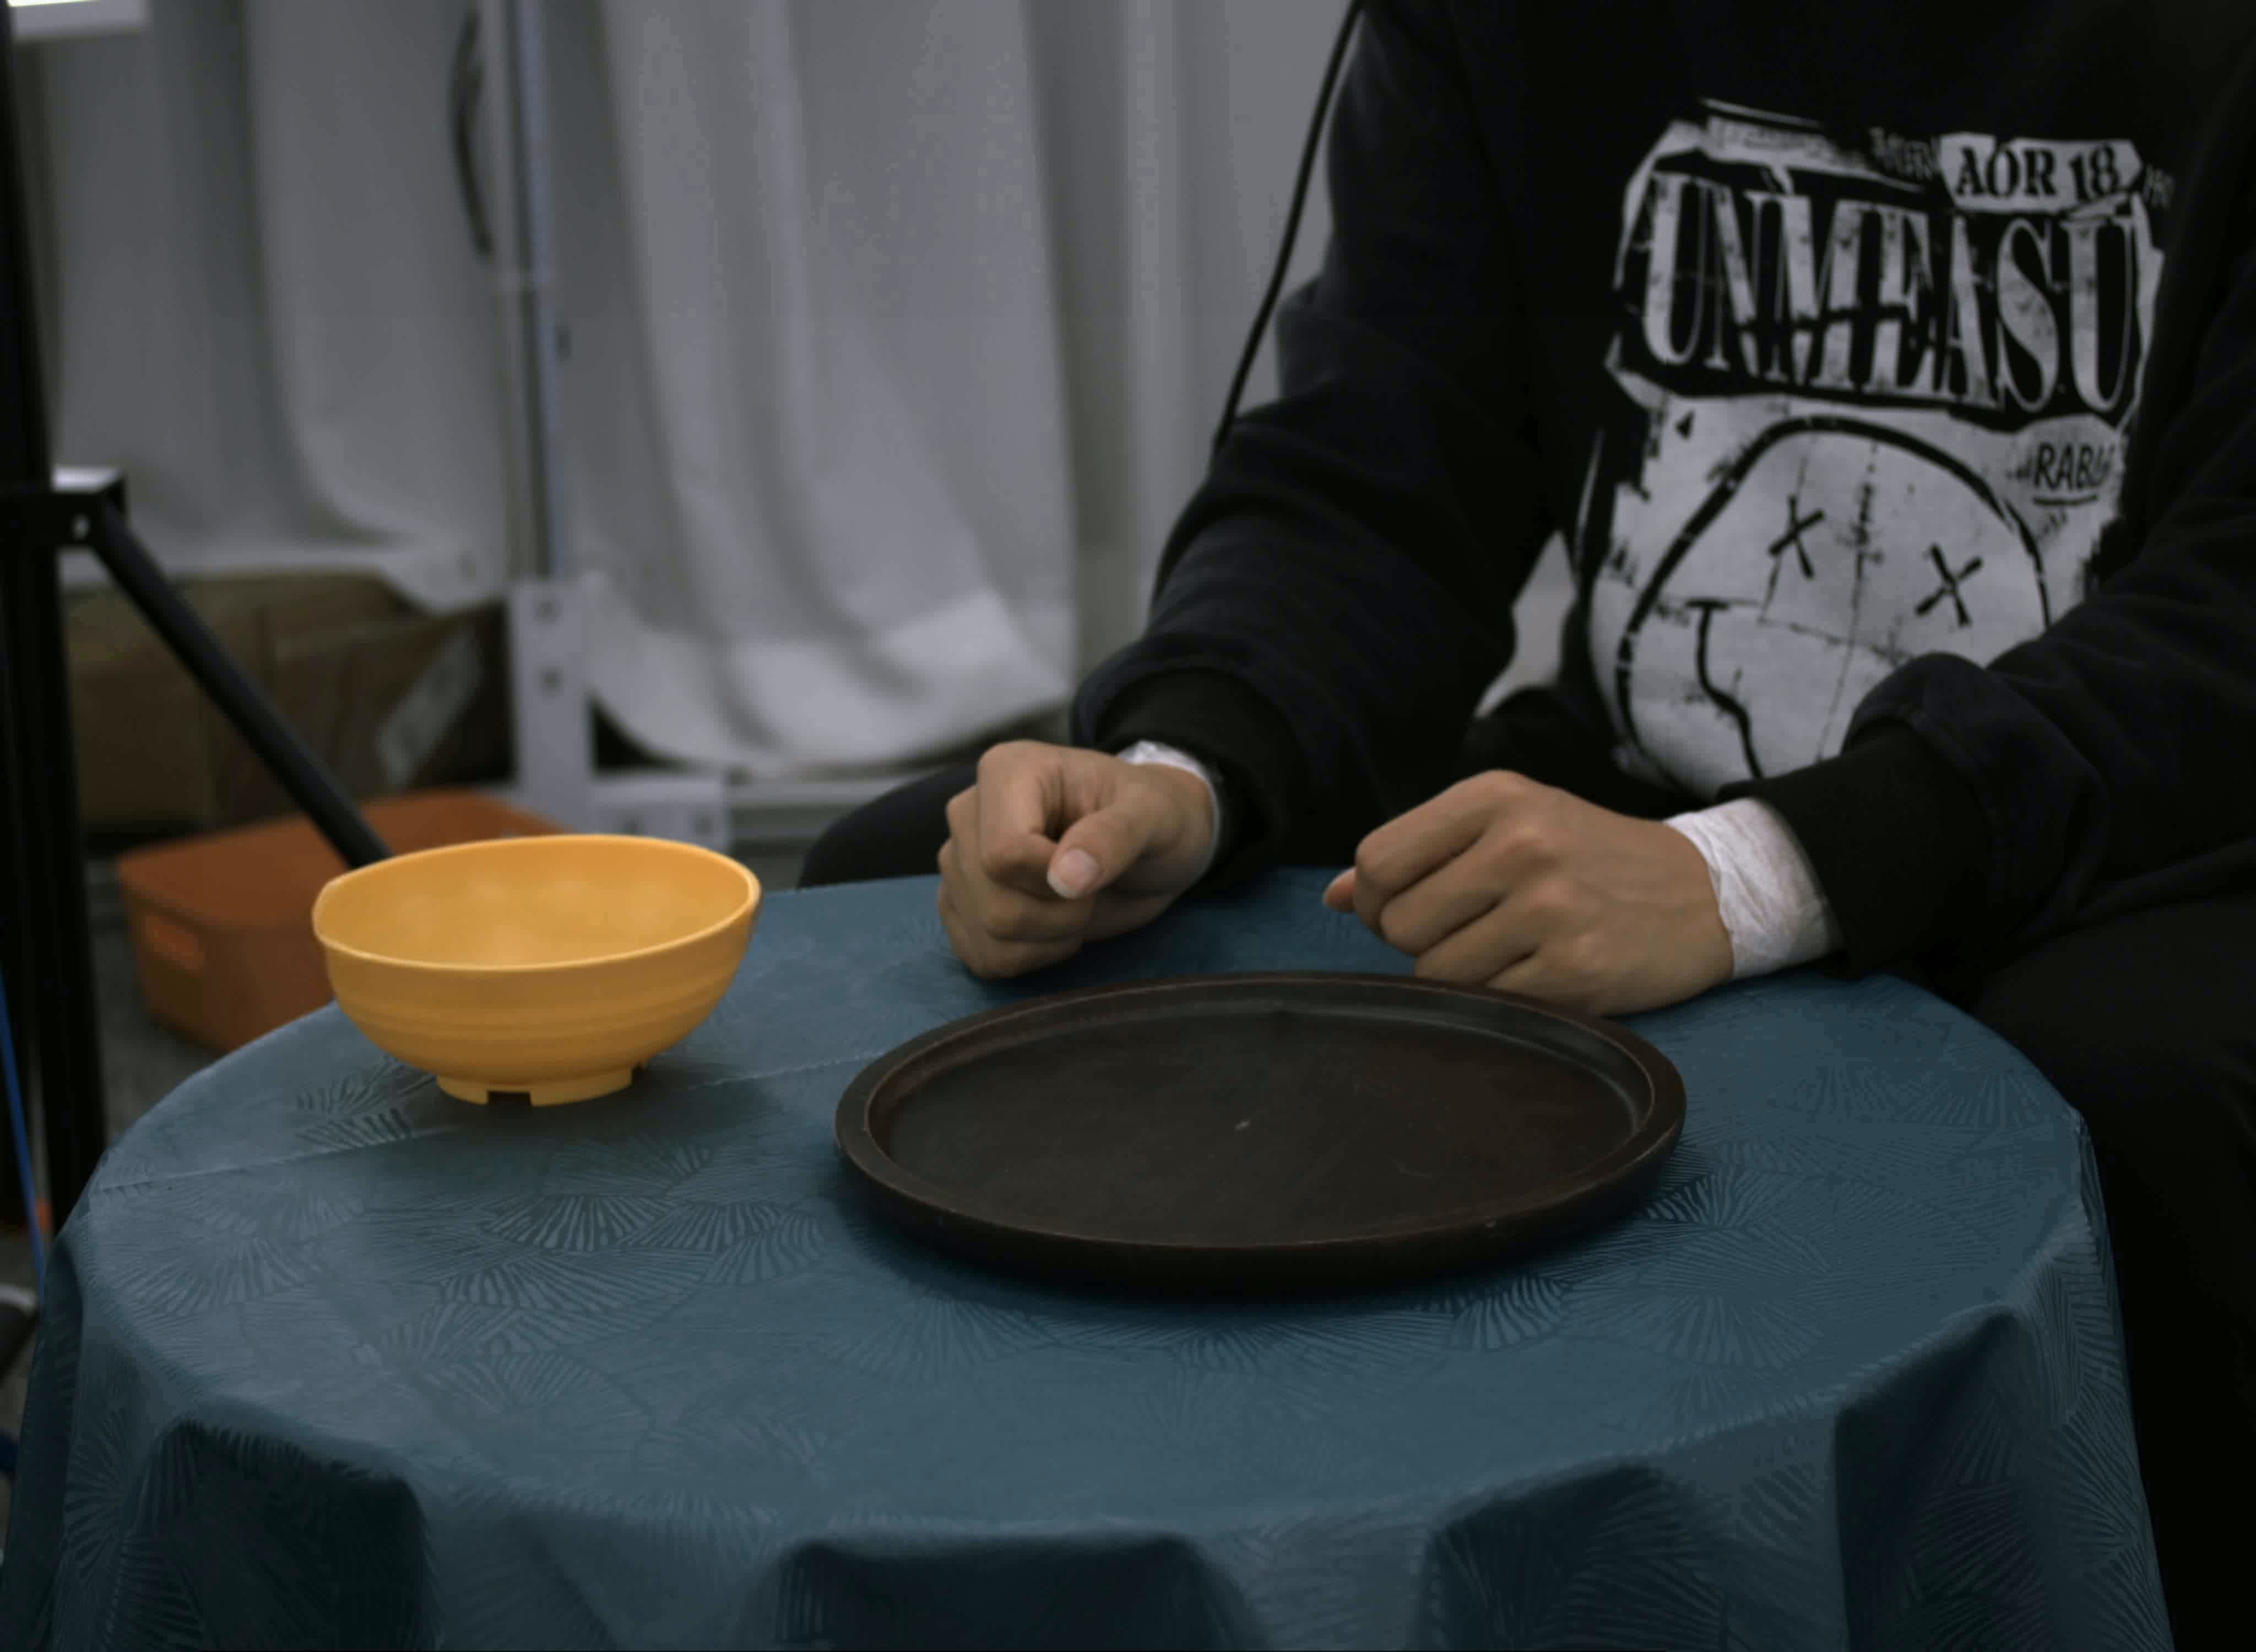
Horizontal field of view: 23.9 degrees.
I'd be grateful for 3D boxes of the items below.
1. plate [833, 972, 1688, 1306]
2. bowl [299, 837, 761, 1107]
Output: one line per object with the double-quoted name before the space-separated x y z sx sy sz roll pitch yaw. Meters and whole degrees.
"plate" 0.040 0.091 1.572 0.253 0.029 0.256 -4 14 0
"bowl" -0.188 0.051 1.686 0.144 0.060 0.146 0 15 -1
